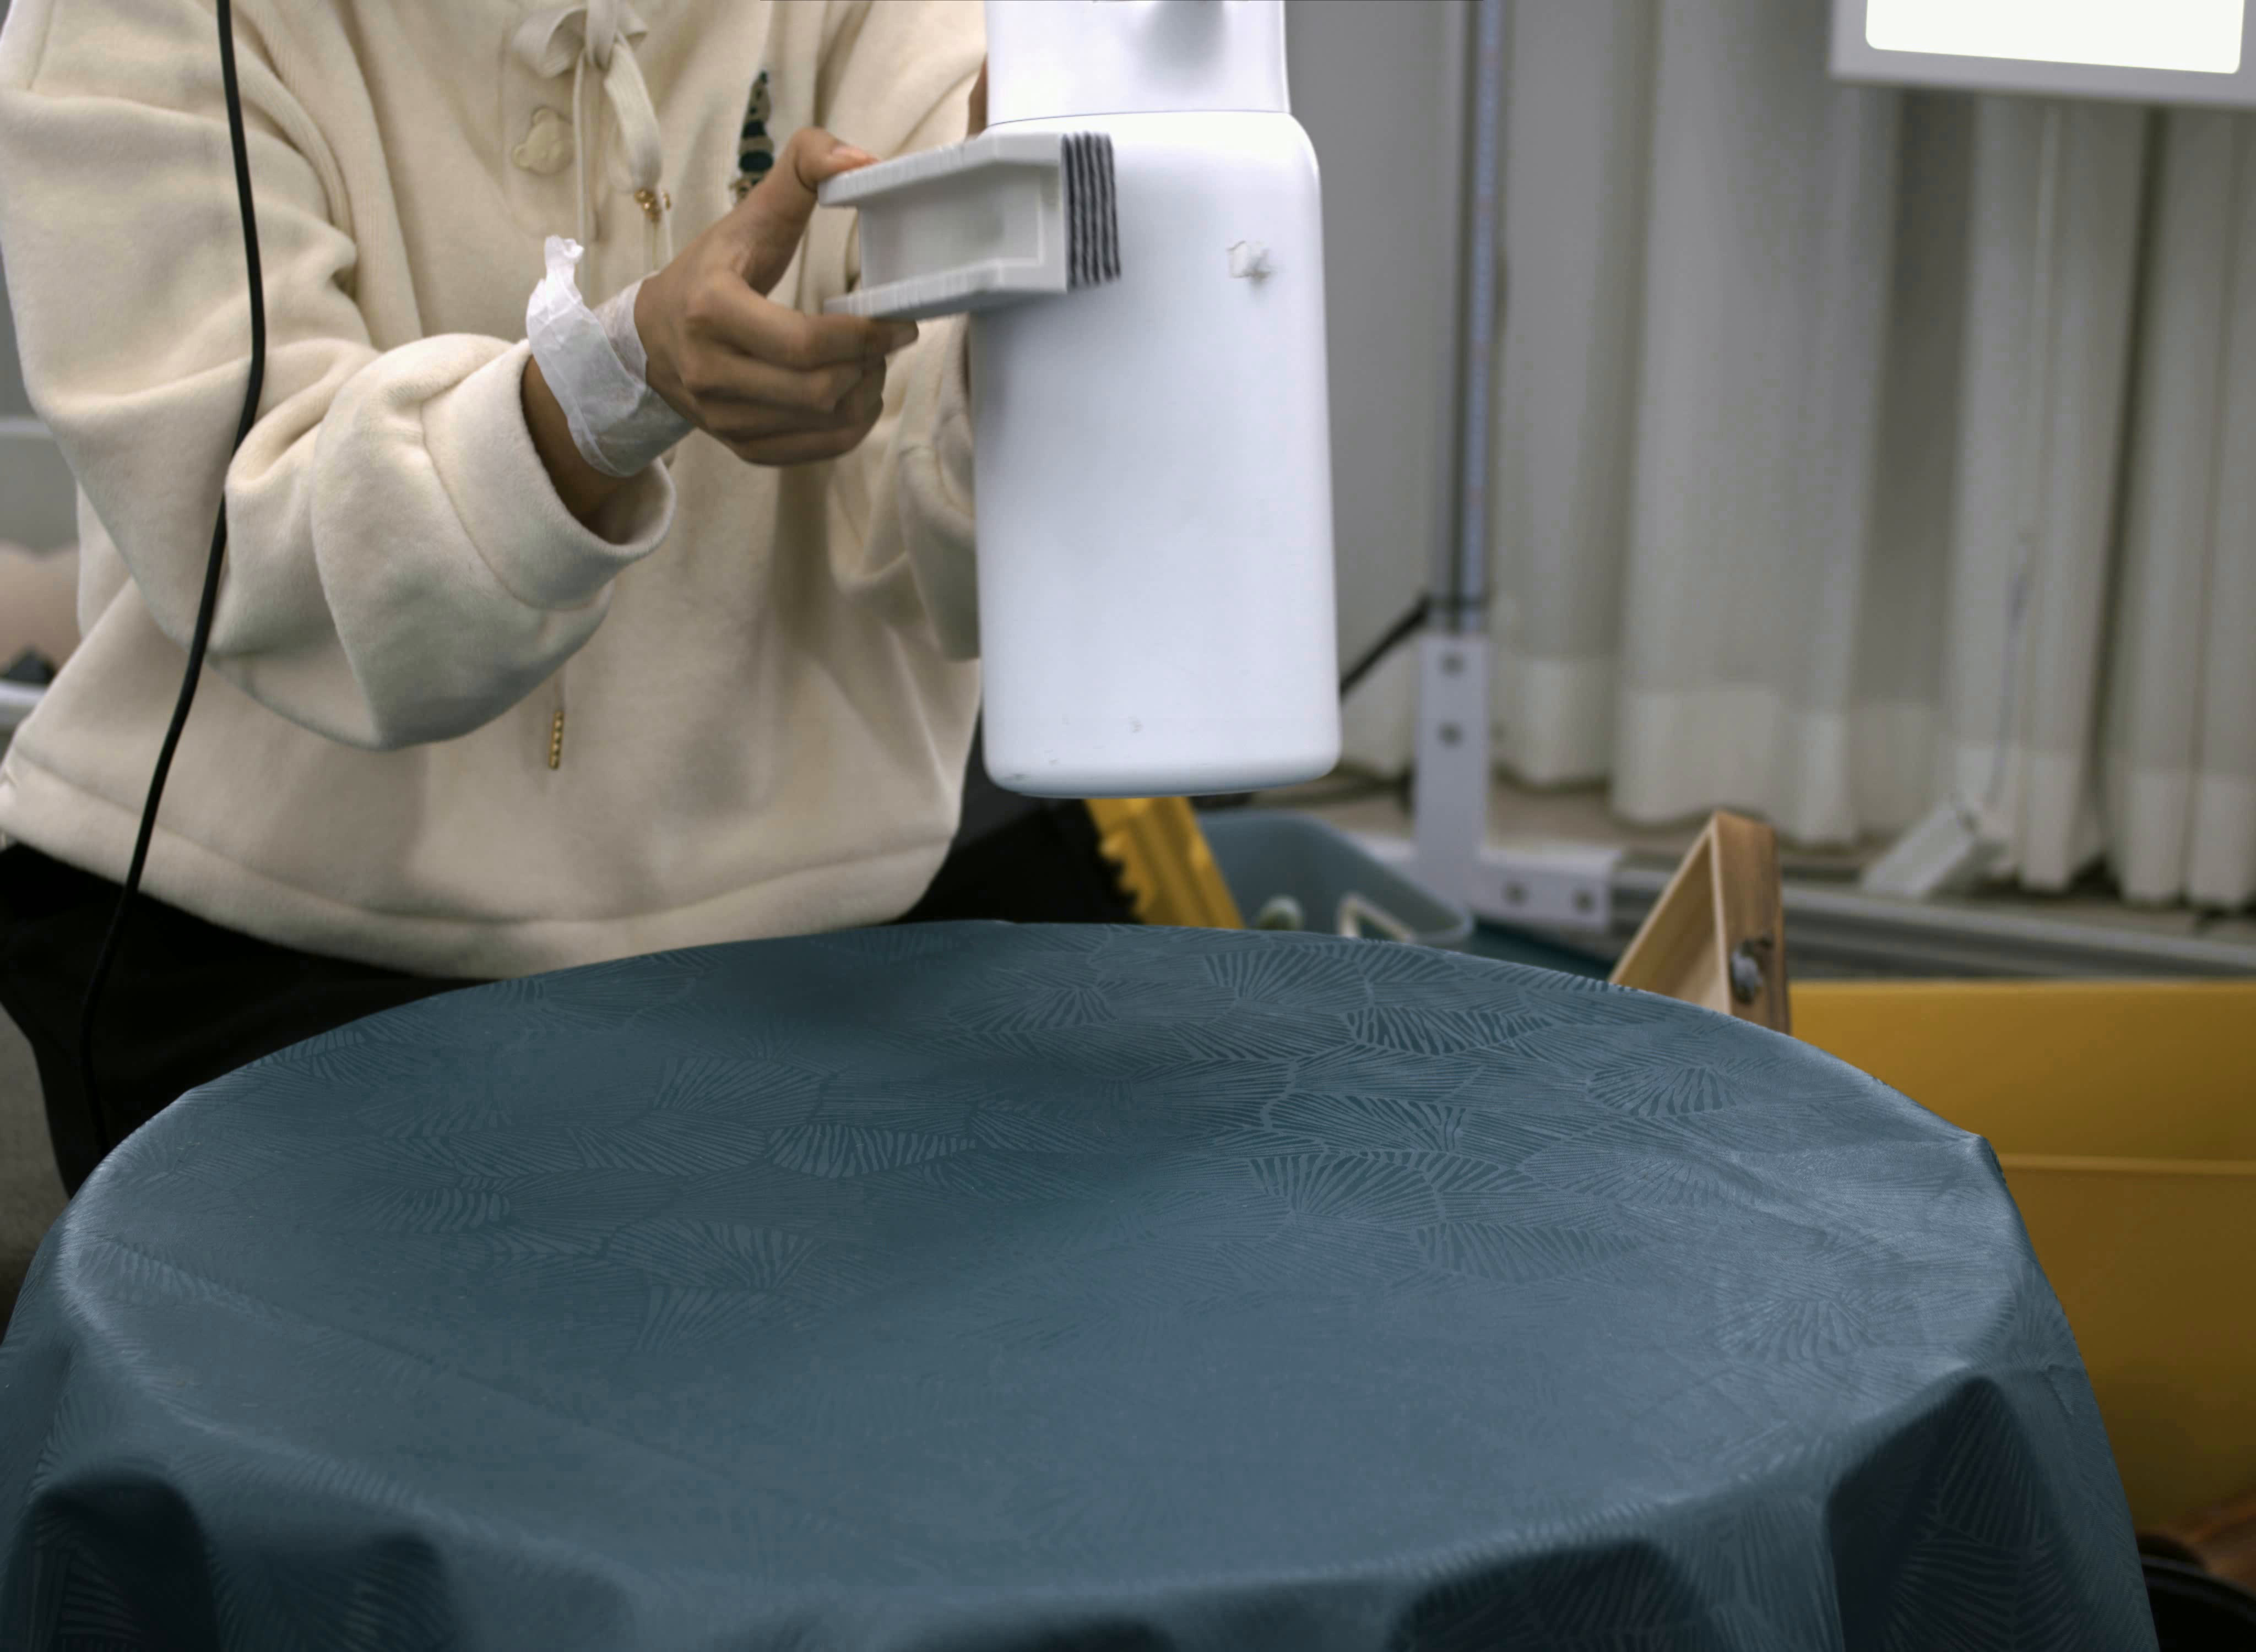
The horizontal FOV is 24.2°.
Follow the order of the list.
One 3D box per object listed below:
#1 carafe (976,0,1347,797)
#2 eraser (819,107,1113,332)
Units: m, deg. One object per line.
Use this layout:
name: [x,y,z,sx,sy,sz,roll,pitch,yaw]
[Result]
carafe: [0.003,-0.147,1.738,0.124,0.270,0.171,-6,6,-18]
eraser: [-0.052,-0.190,1.654,0.047,0.050,0.133,-8,0,-26]
